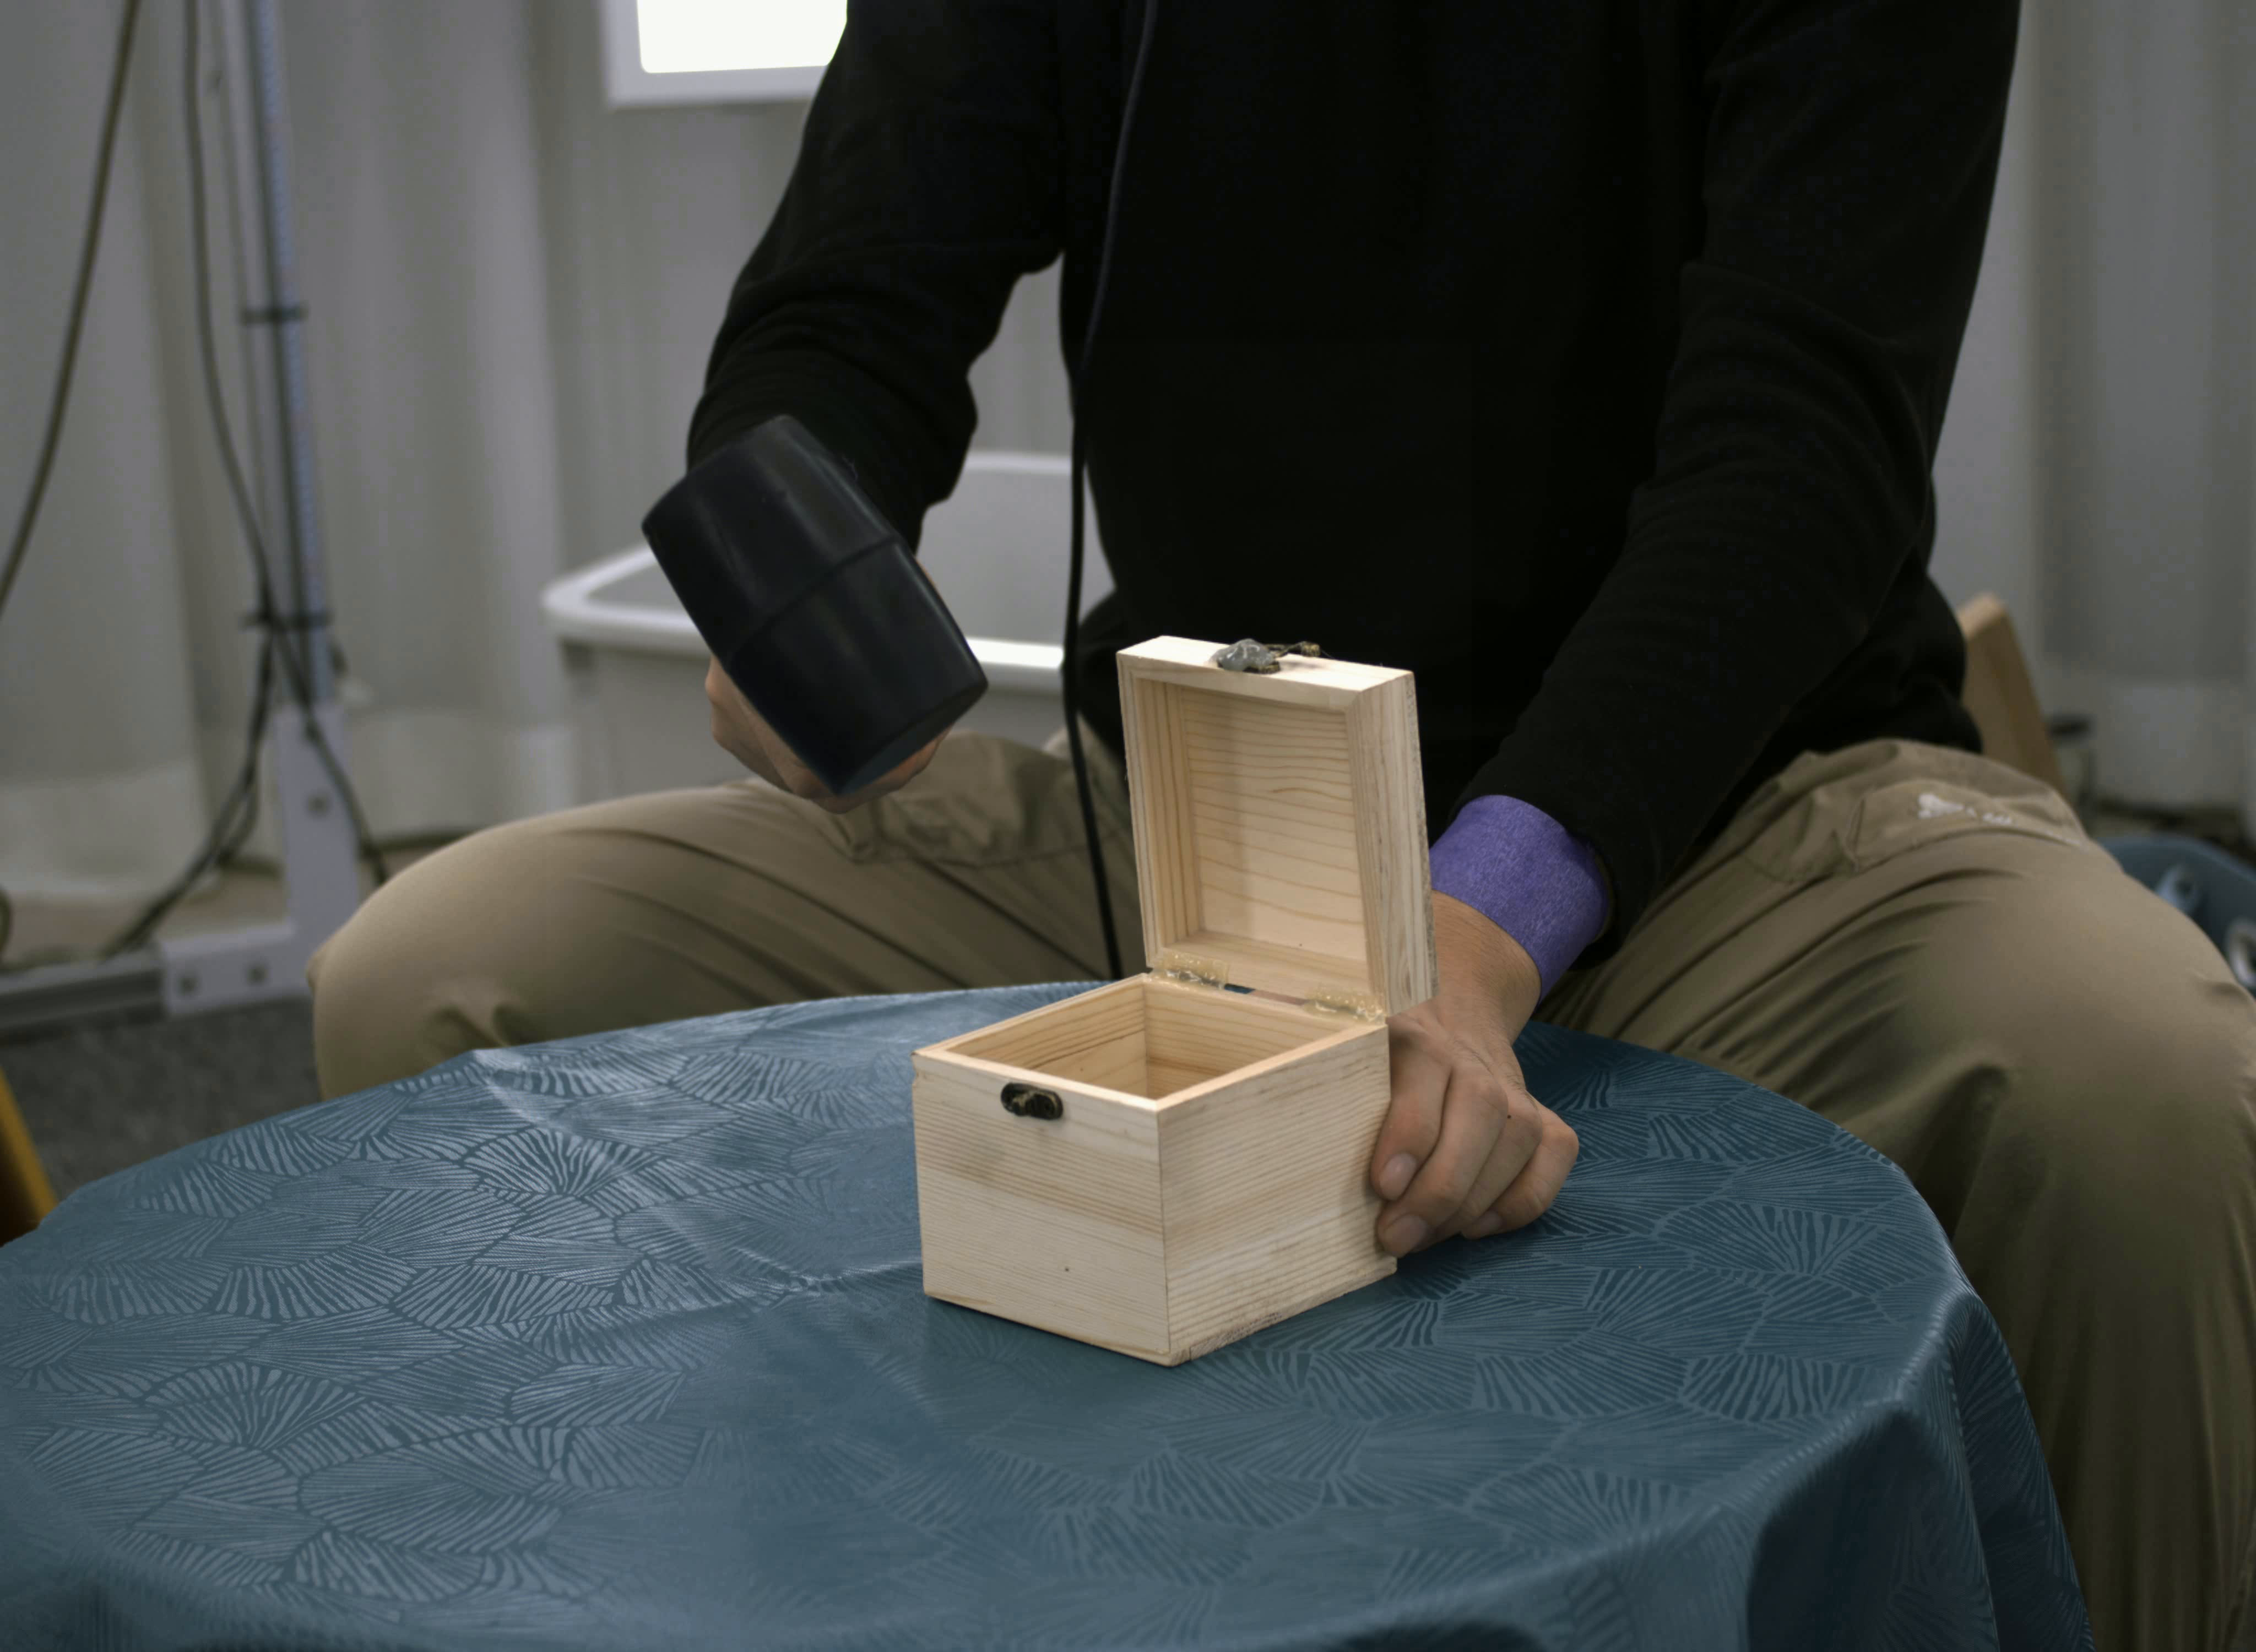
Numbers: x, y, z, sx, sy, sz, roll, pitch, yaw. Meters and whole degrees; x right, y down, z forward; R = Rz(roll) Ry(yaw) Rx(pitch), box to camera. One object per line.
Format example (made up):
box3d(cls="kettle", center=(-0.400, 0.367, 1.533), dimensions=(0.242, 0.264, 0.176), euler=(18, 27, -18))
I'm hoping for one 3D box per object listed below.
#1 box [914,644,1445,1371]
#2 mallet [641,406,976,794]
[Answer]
box3d(cls="box", center=(0.014, 0.049, 1.614), dimensions=(0.103, 0.184, 0.133), euler=(11, 16, 43))
box3d(cls="mallet", center=(-0.084, -0.053, 1.704), dimensions=(0.064, 0.102, 0.337), euler=(-31, -7, 0))
